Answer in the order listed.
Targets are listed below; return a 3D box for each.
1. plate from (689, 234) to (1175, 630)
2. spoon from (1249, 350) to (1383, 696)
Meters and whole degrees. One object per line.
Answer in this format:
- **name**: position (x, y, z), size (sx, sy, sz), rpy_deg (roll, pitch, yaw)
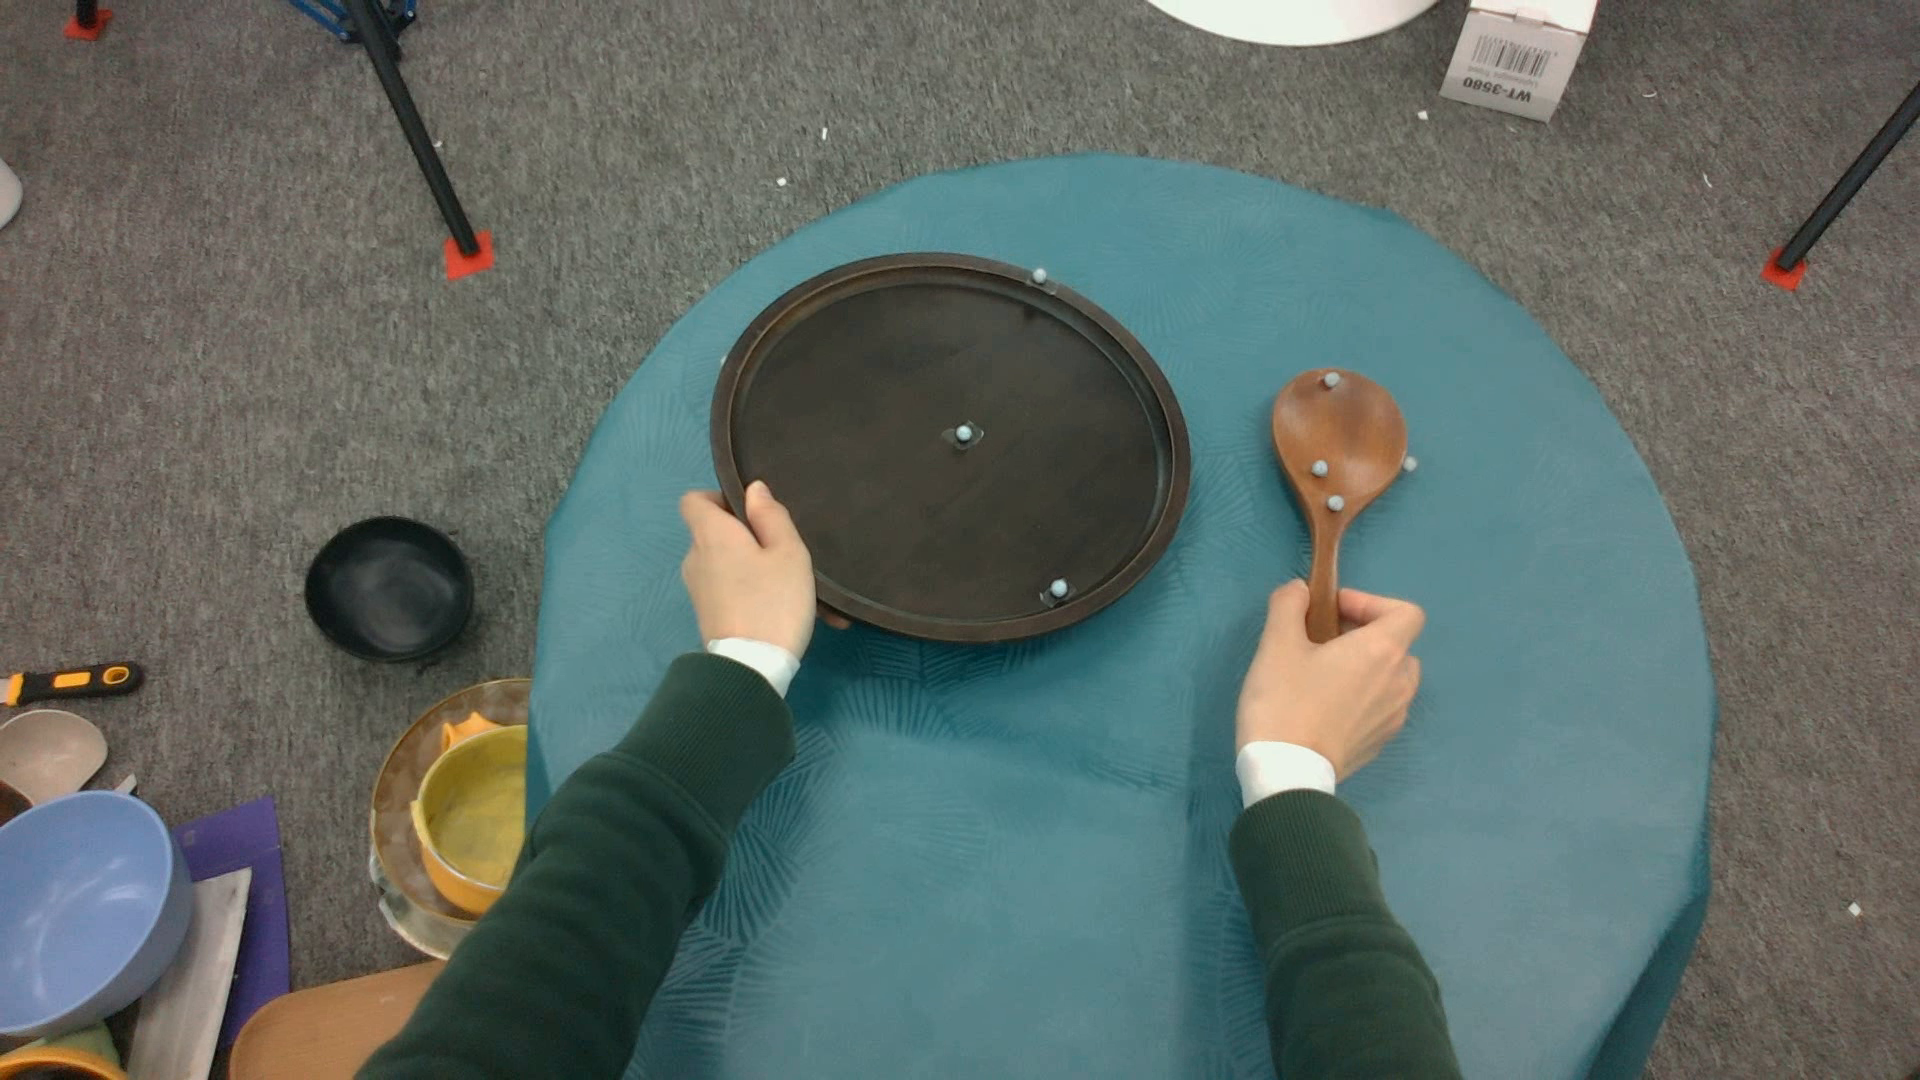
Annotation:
- **plate**: position (-0.013, -0.063, 0.723), size (0.255, 0.029, 0.256), rpy_deg (4, 56, -6)
- **spoon**: position (0.179, -0.015, 0.712), size (0.075, 0.017, 0.217), rpy_deg (15, 56, 0)
